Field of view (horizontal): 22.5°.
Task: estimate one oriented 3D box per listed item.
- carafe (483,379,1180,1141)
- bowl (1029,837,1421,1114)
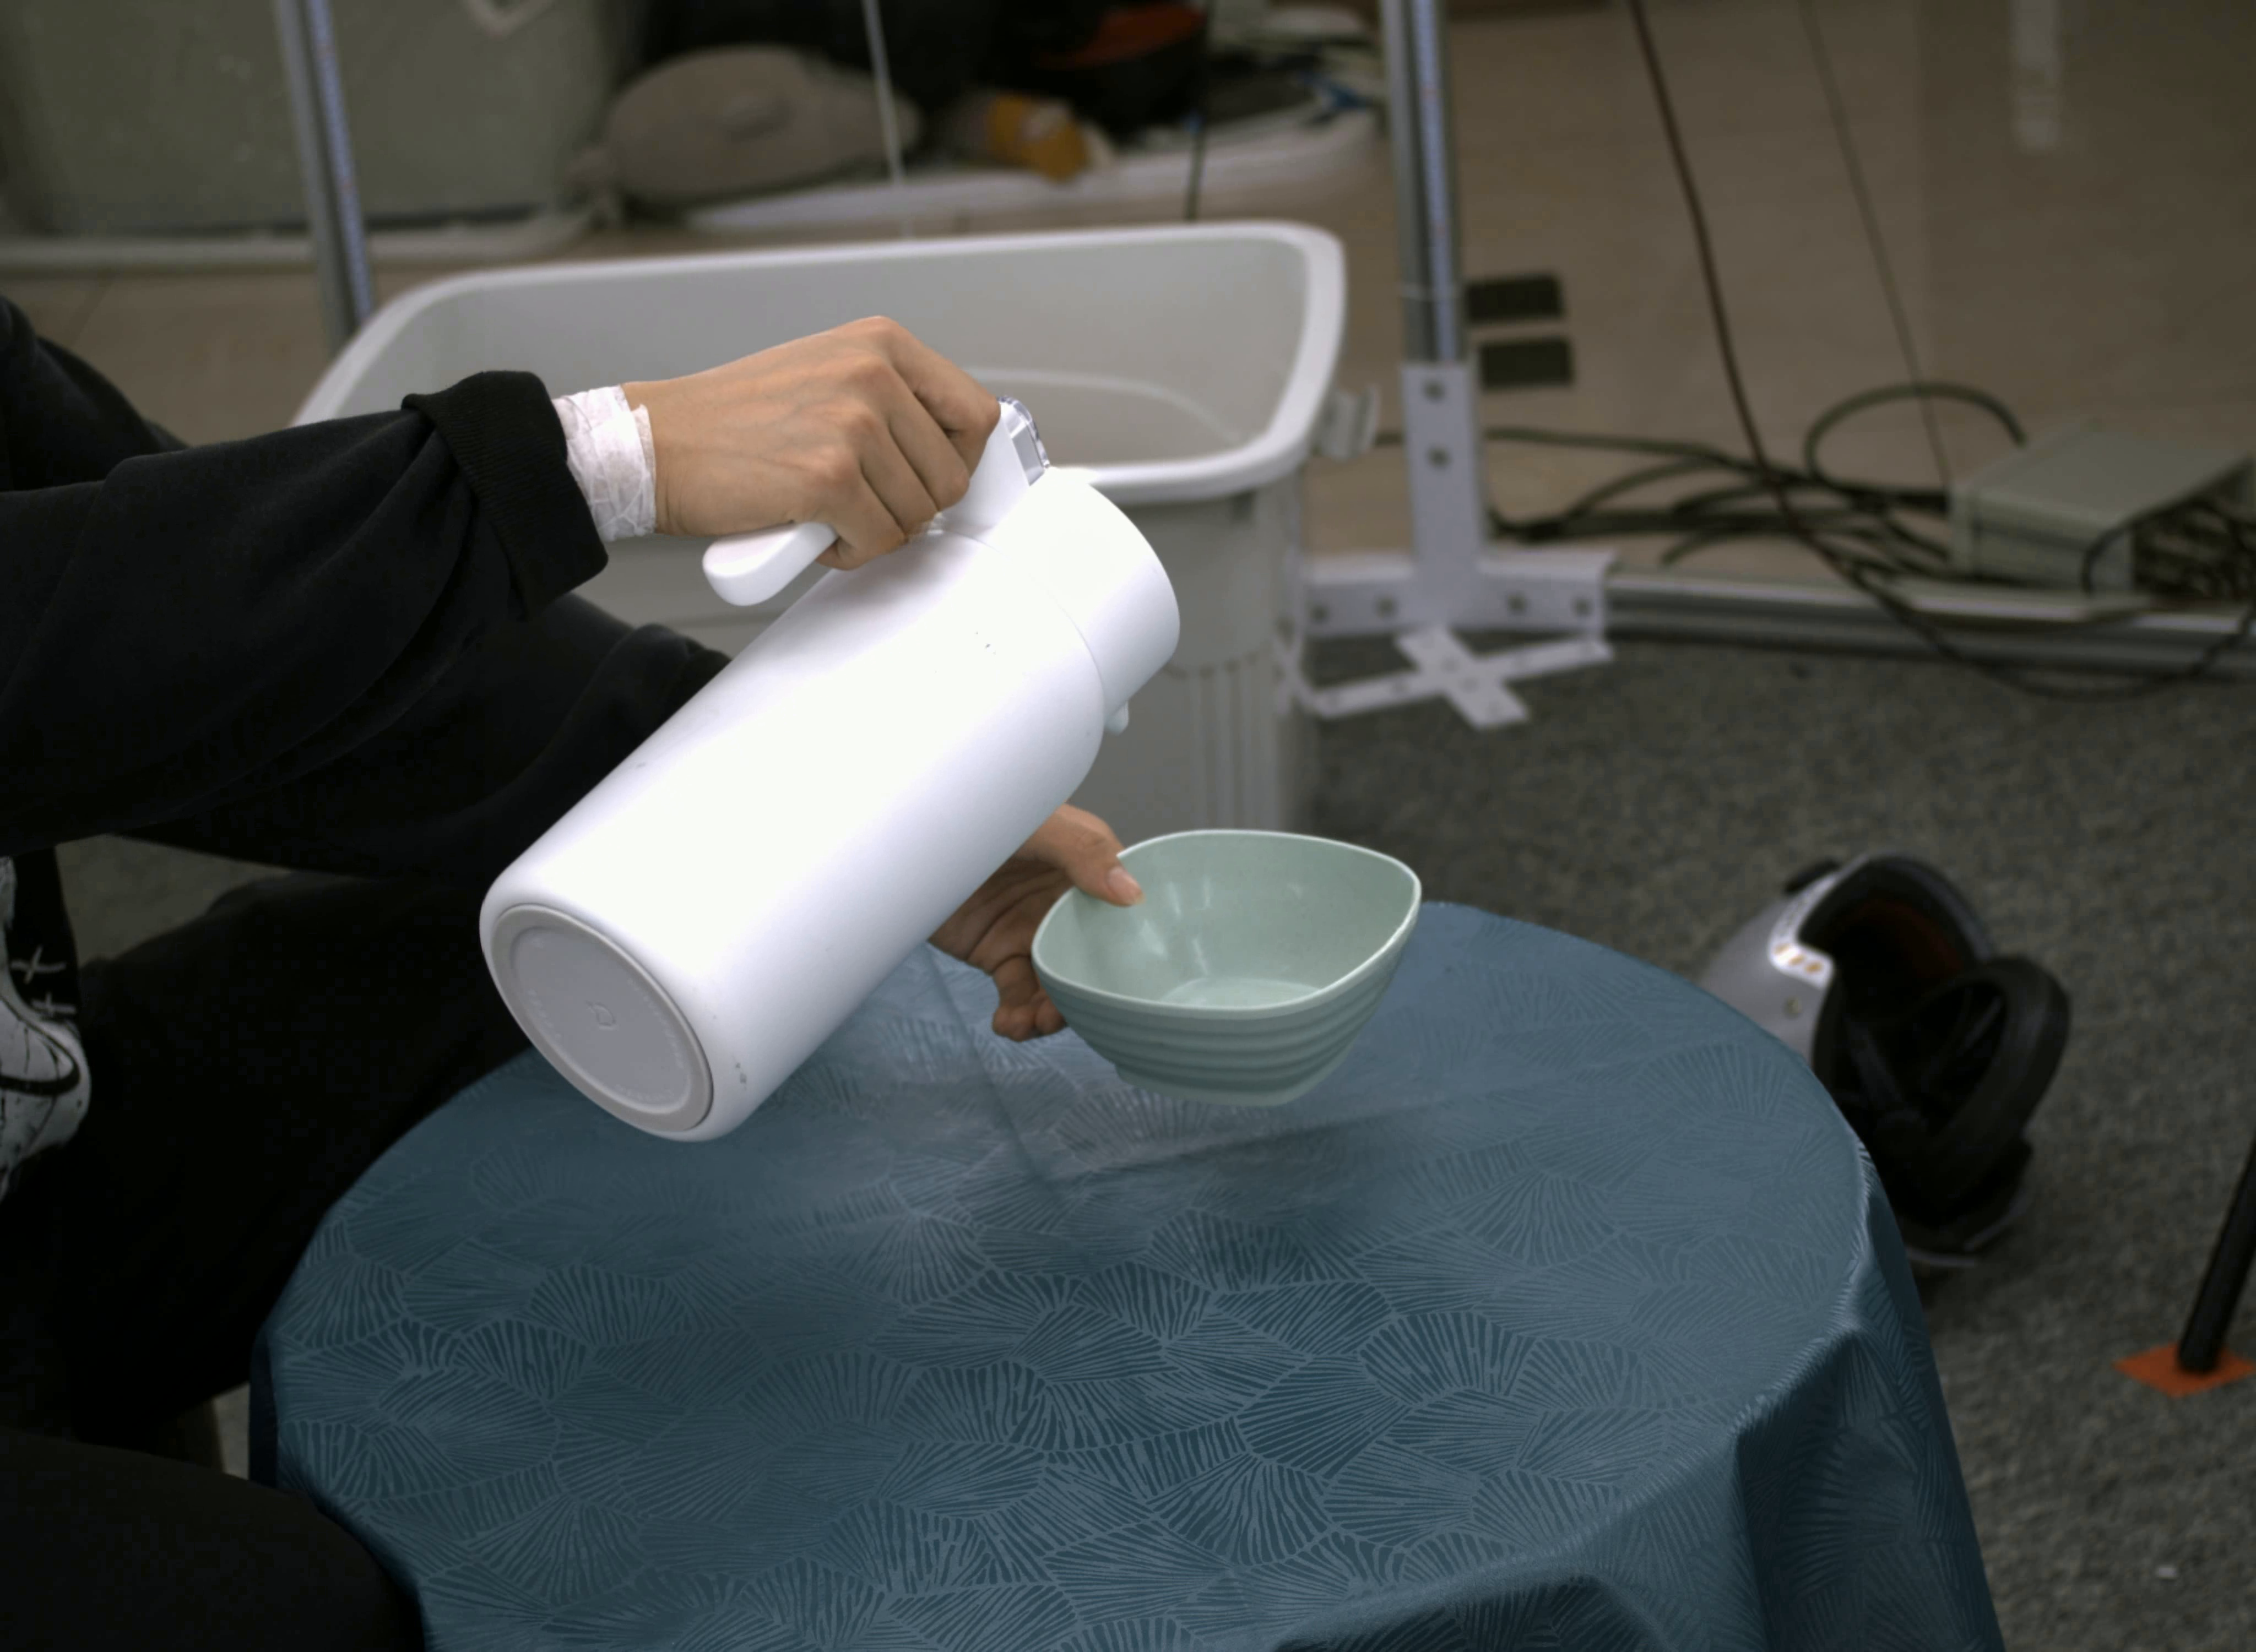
[{"bbox_3d":[-0.102,-0.028,1.965,0.123,0.176,0.266,17,50,40],"label":"carafe"},{"bbox_3d":[0.039,0.062,2.136,0.151,0.059,0.149,-5,27,3],"label":"bowl"}]
